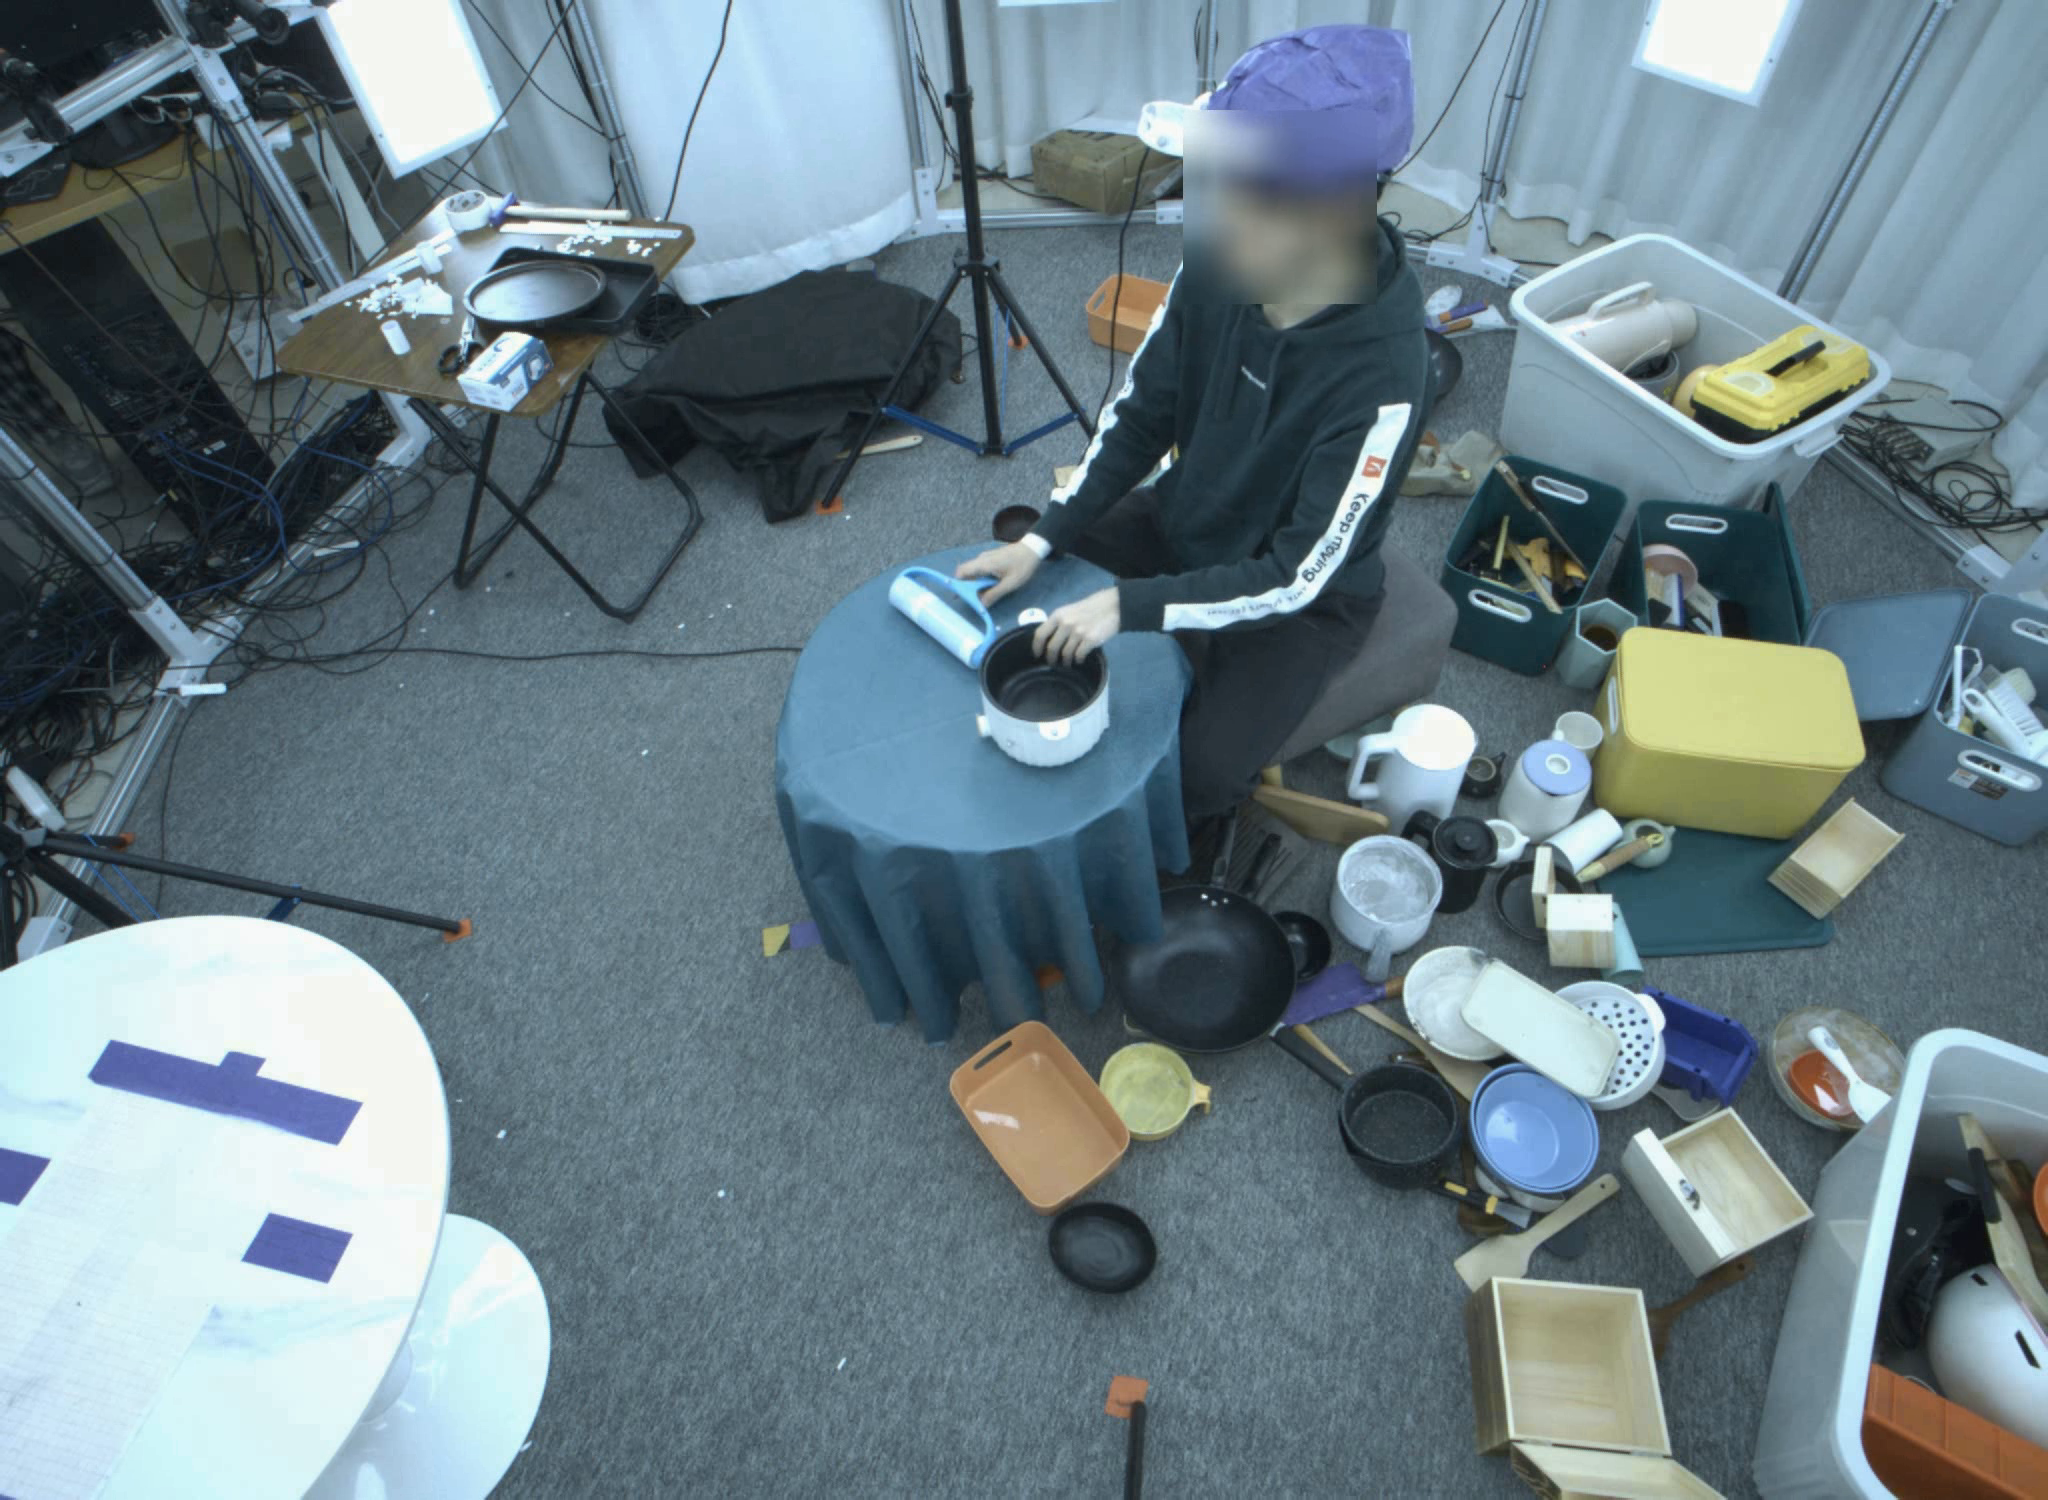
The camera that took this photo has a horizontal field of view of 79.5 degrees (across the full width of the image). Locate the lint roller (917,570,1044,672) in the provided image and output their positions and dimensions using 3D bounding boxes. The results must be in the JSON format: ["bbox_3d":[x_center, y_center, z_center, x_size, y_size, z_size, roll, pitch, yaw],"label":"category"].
[{"bbox_3d":[-0.042,-0.230,1.914,0.224,0.069,0.181,37,64,27],"label":"lint roller"}]

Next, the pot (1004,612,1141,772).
[{"bbox_3d":[0.067,-0.063,1.740,0.191,0.144,0.237,-6,53,-5],"label":"pot"}]
